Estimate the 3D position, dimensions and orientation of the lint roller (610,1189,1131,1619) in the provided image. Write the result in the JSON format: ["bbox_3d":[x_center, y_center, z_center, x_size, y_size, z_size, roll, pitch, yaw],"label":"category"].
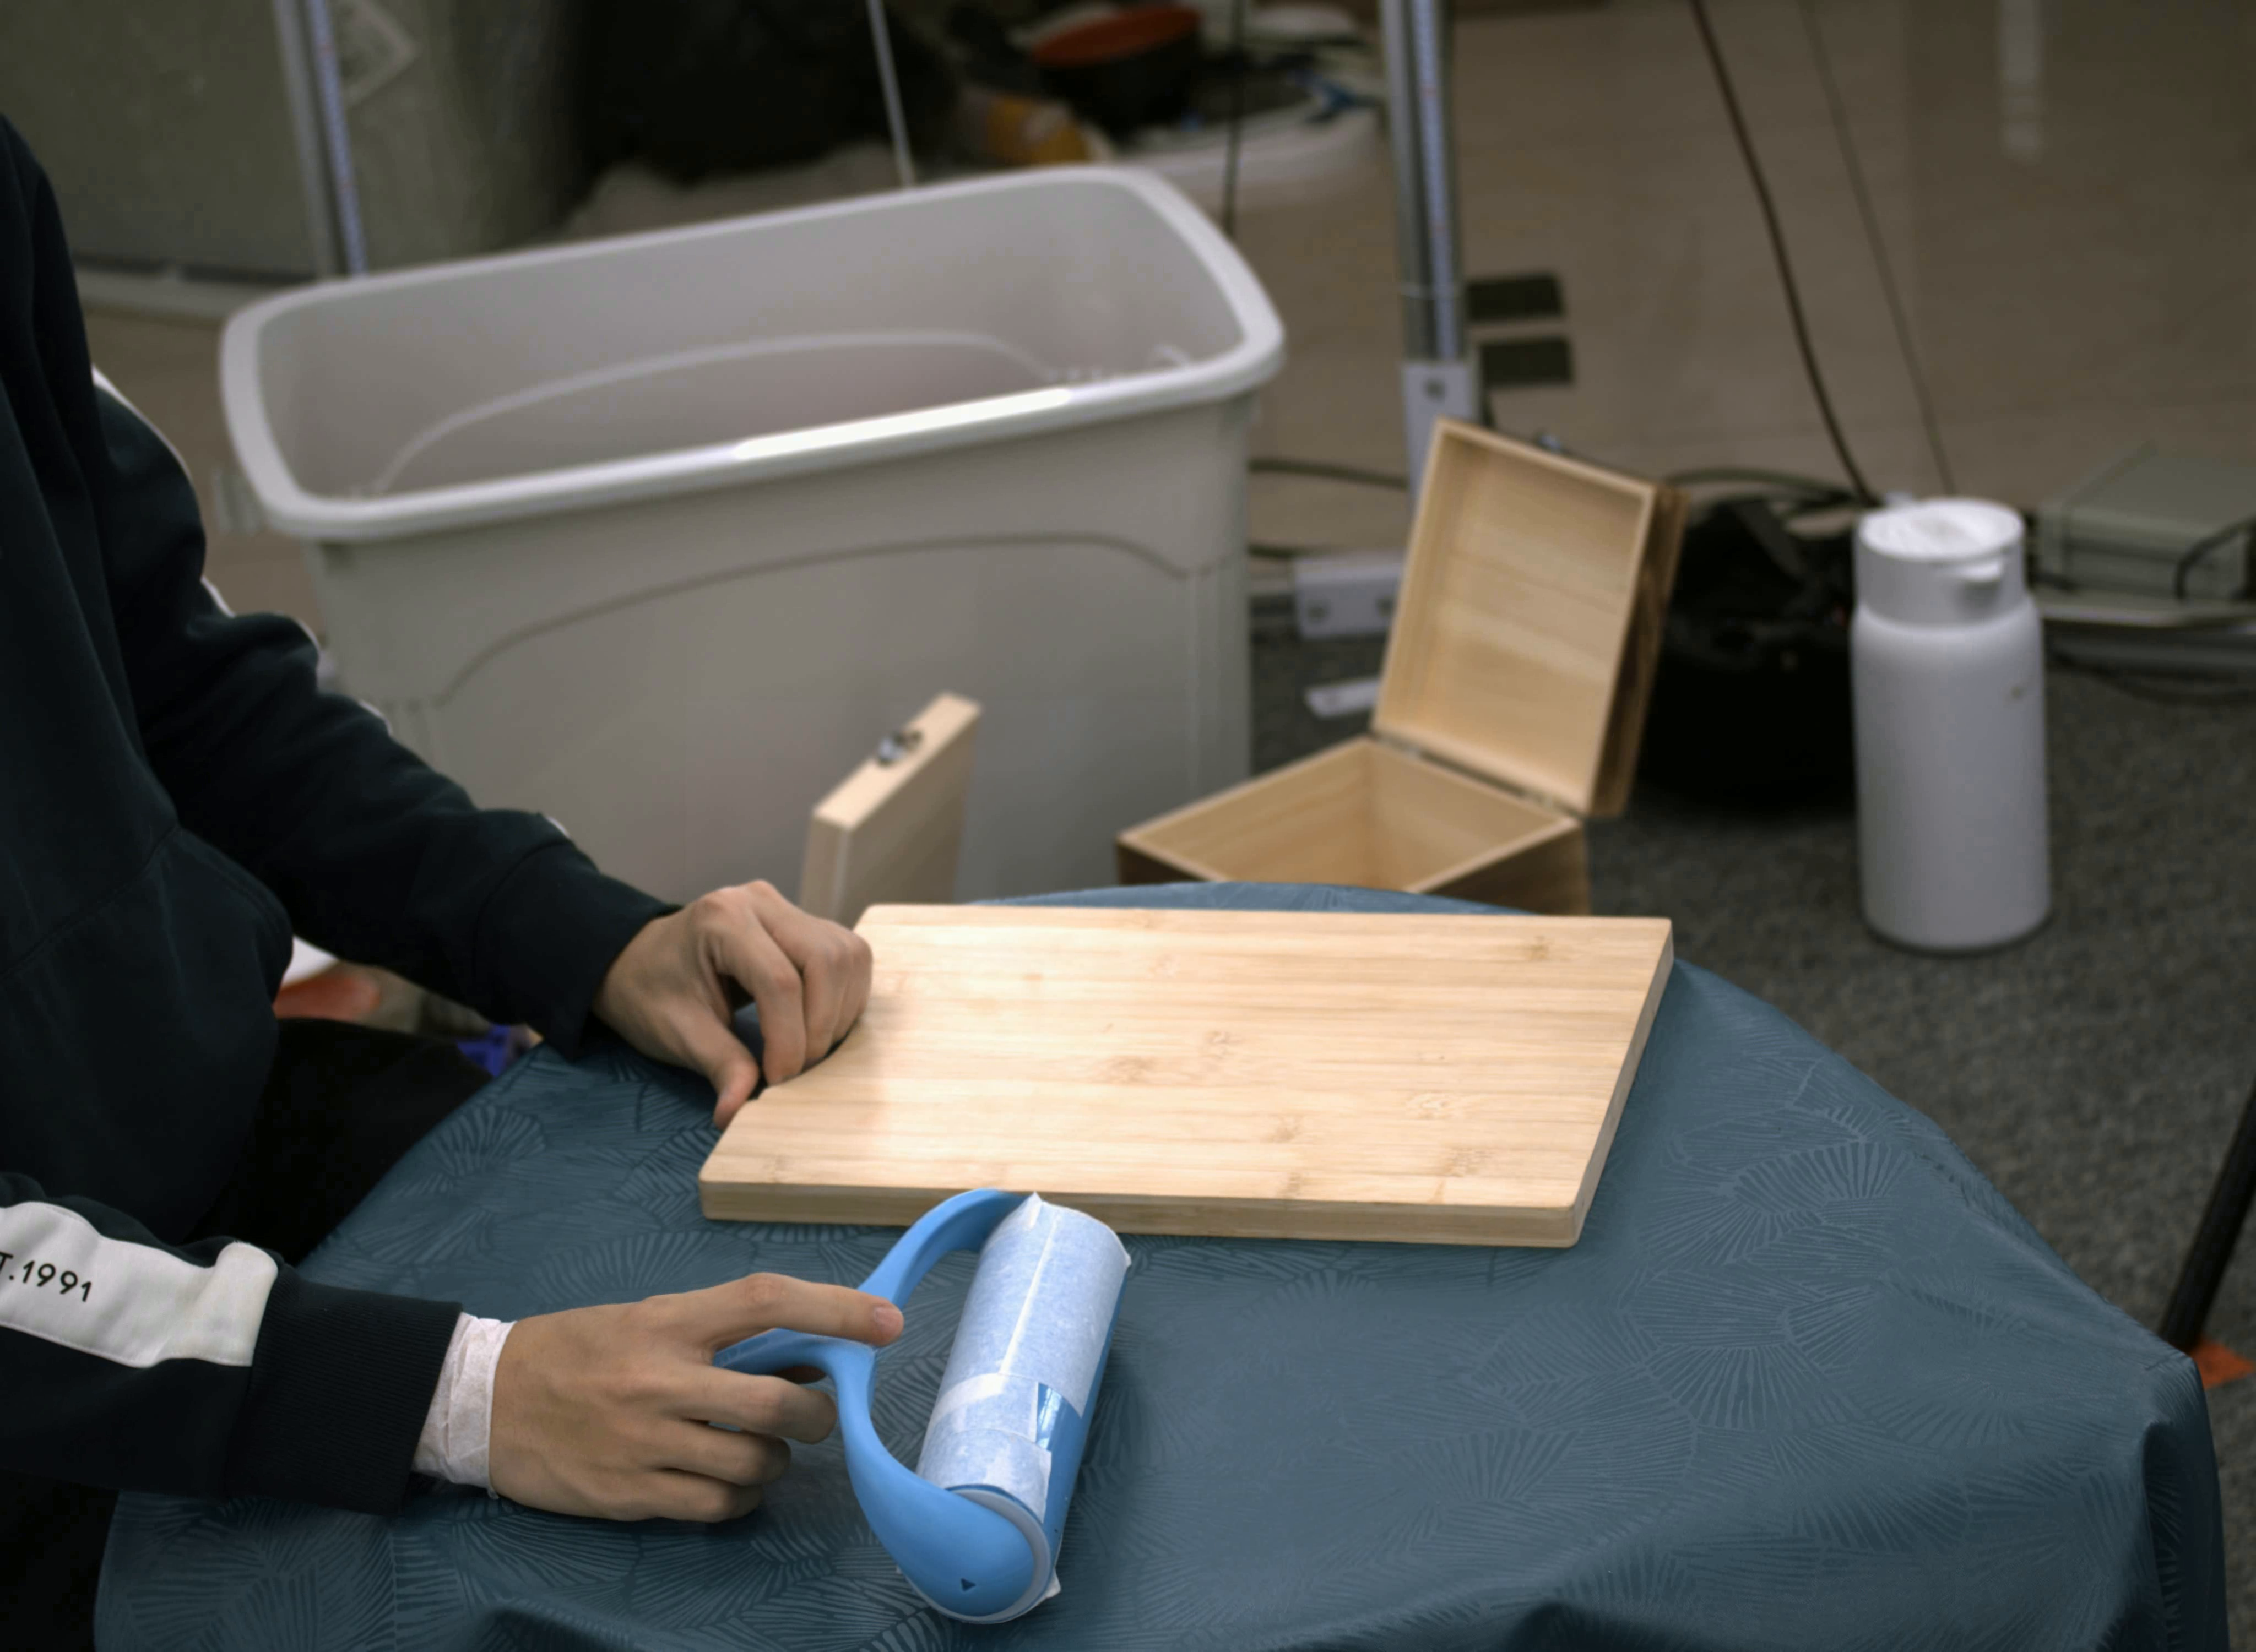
[{"bbox_3d":[-0.096,0.201,1.966,0.180,0.069,0.225,-3,27,6],"label":"lint roller"}]

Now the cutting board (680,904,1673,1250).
[{"bbox_3d":[0.024,0.094,2.215,0.348,0.024,0.247,0,26,14],"label":"cutting board"}]
